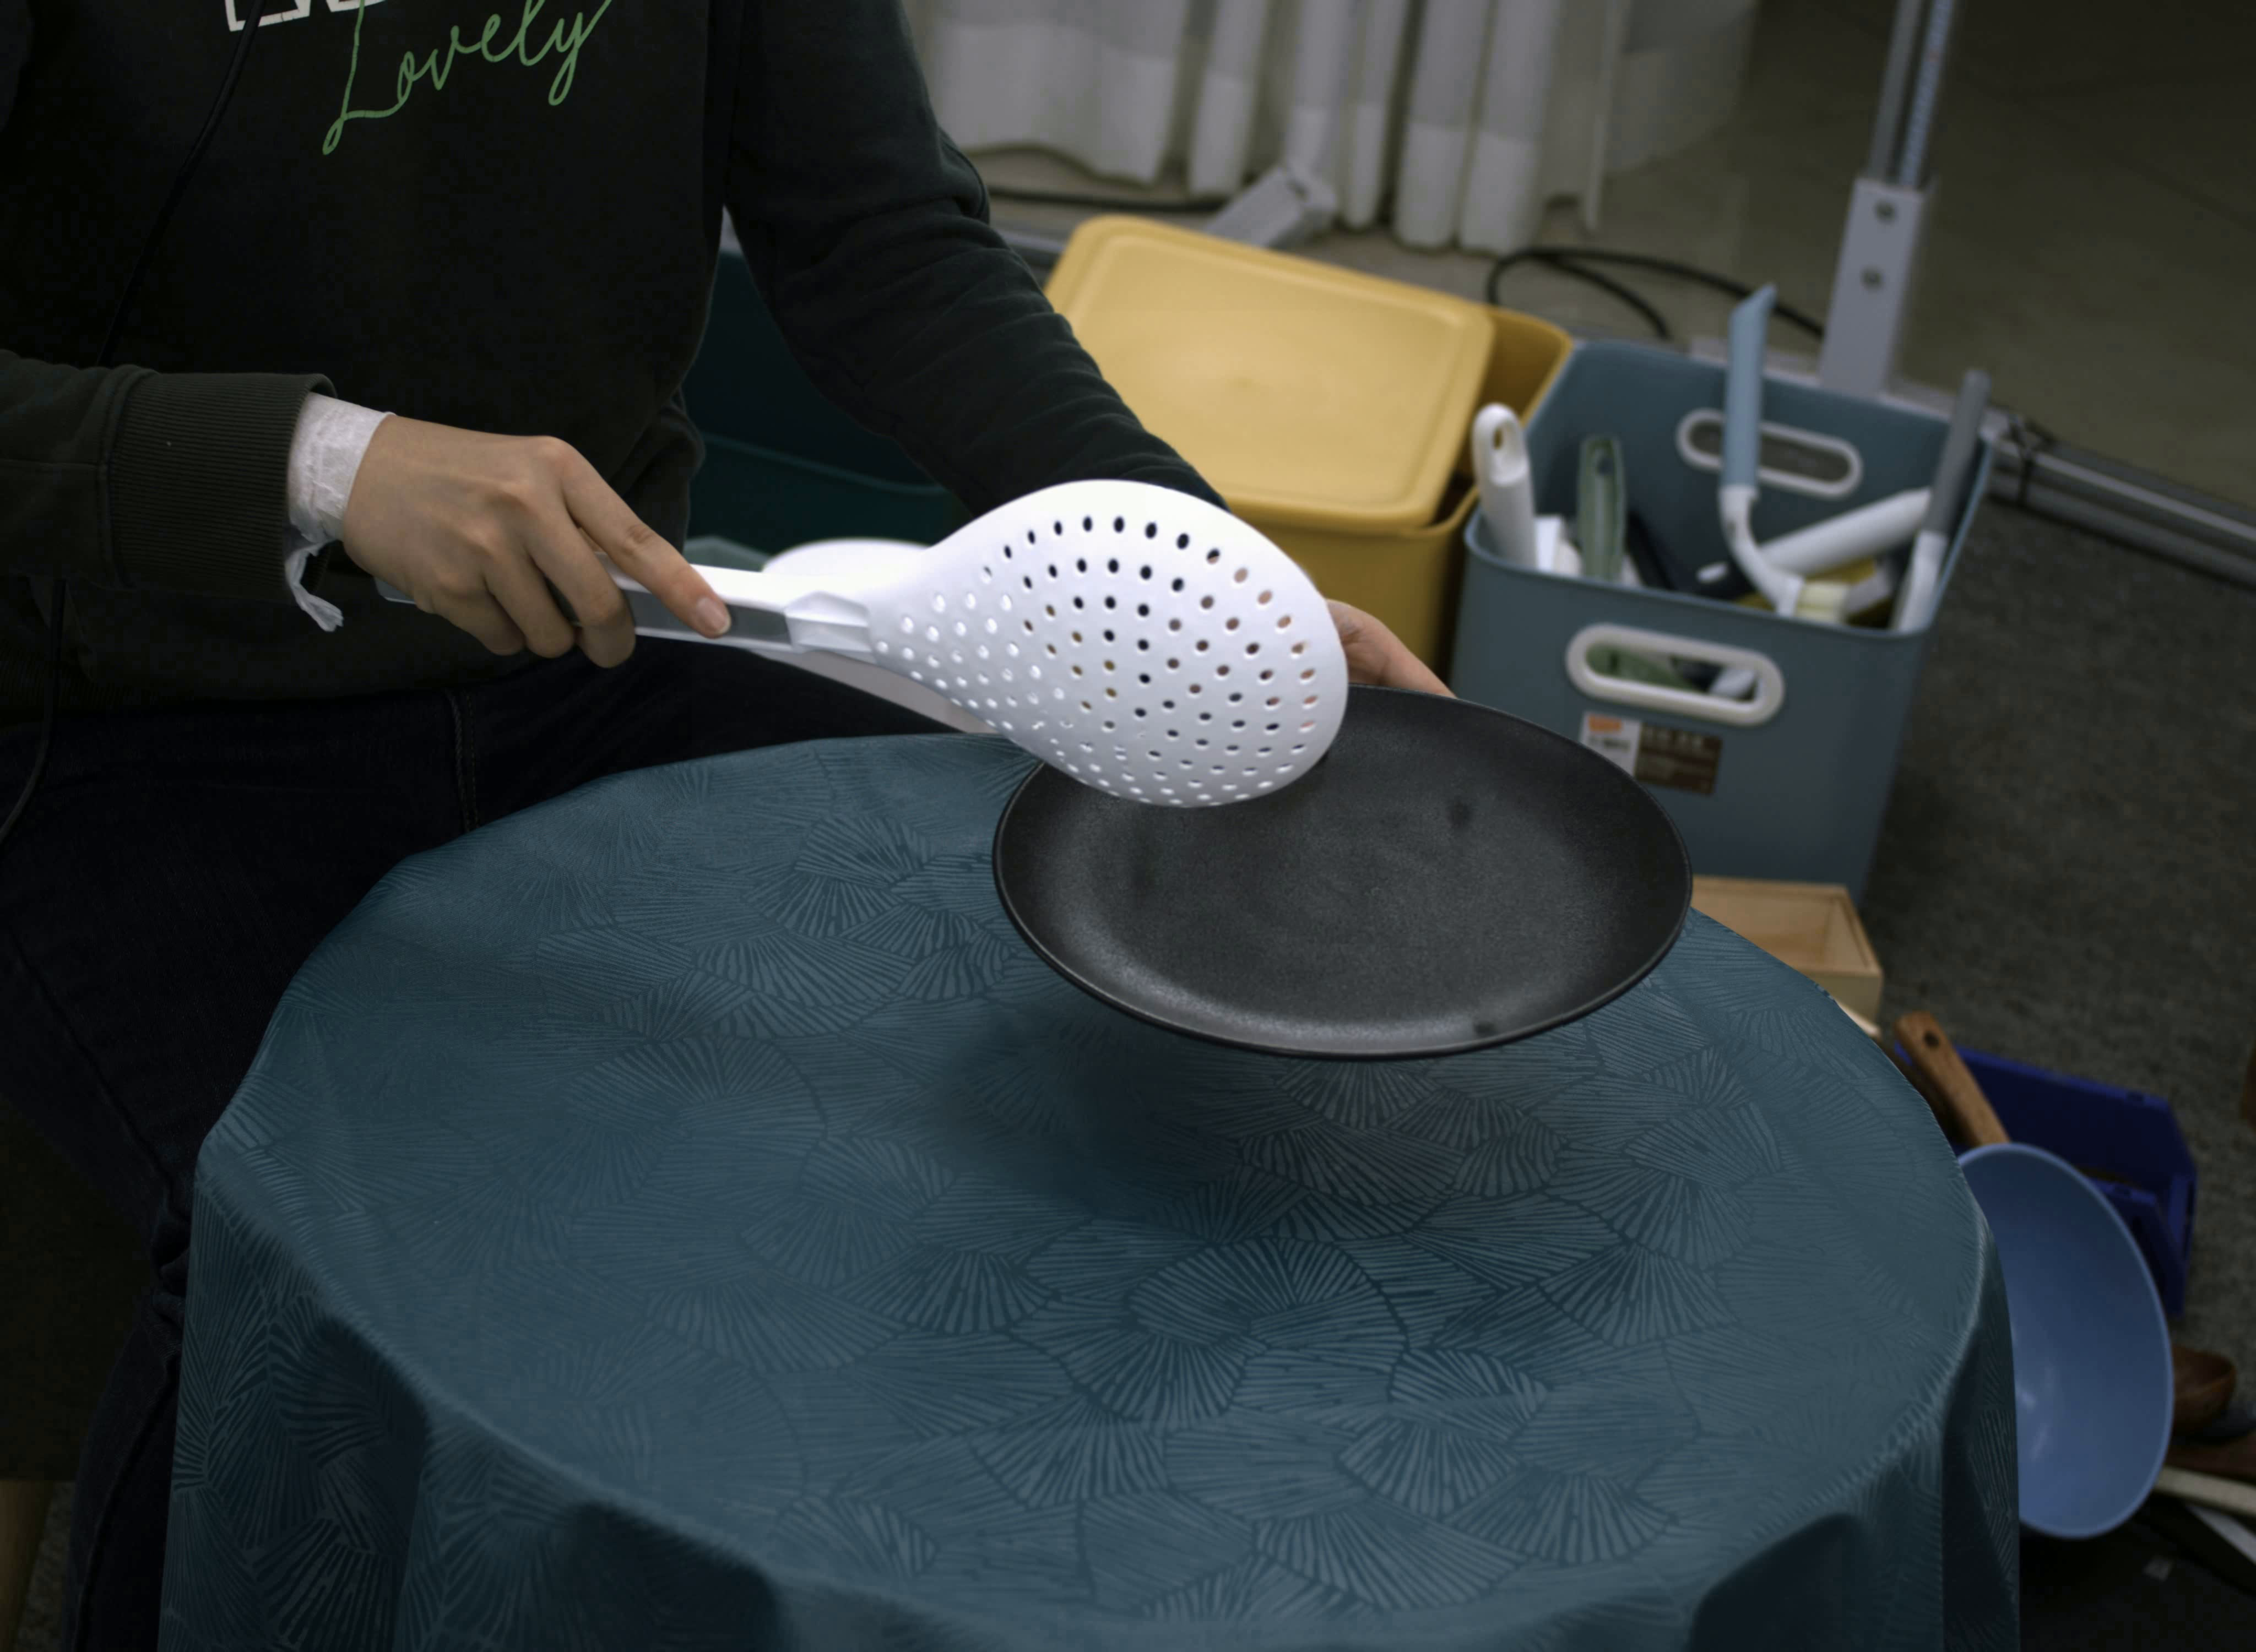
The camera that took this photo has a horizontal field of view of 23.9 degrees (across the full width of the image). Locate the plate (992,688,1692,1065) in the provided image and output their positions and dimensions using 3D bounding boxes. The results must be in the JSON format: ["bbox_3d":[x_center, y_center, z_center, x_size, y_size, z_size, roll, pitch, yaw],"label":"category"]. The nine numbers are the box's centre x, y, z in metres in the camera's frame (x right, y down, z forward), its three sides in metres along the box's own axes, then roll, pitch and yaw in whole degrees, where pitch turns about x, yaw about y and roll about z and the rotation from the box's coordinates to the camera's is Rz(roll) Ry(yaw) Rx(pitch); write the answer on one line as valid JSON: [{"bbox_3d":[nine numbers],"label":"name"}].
[{"bbox_3d":[0.074,0.020,1.849,0.243,0.023,0.246,1,31,-1],"label":"plate"}]

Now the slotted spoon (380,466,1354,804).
[{"bbox_3d":[-0.094,-0.070,1.793,0.351,0.135,0.046,10,41,23],"label":"slotted spoon"}]
